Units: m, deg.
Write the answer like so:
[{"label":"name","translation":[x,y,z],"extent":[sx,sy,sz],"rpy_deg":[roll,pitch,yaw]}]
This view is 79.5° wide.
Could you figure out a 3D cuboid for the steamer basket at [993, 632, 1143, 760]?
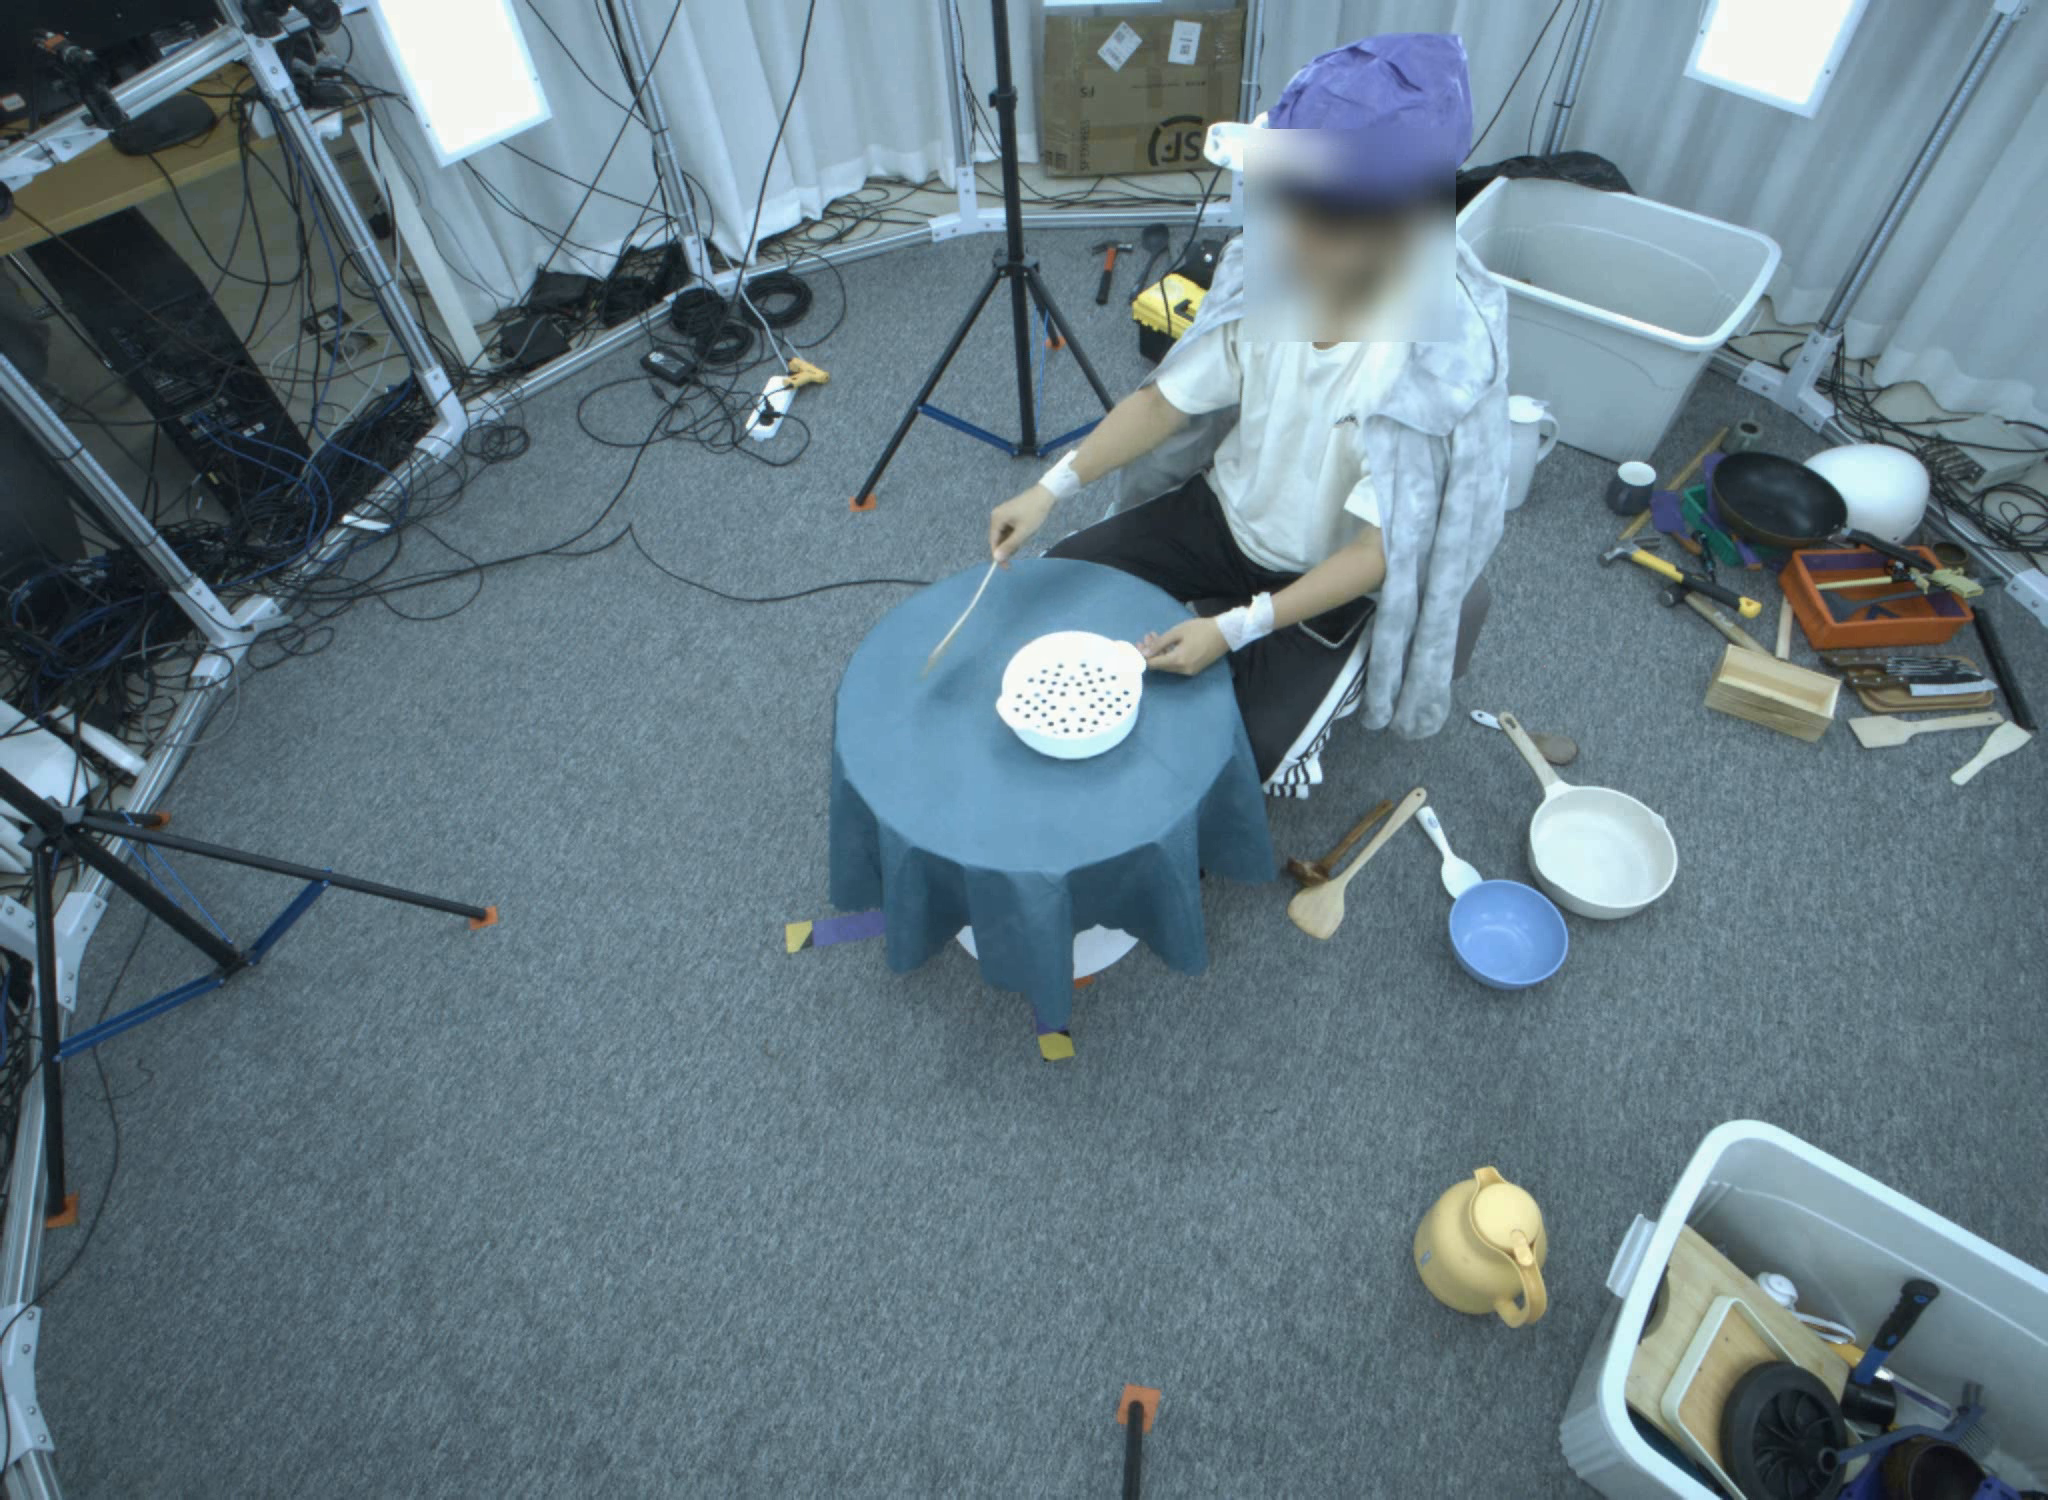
[{"label":"steamer basket","translation":[0.065,-0.077,1.801],"extent":[0.232,0.070,0.198],"rpy_deg":[-26,59,-16]}]

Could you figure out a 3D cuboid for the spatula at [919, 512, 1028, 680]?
[{"label":"spatula","translation":[-0.072,-0.243,1.863],"extent":[0.016,0.079,0.327],"rpy_deg":[30,66,-2]}]
